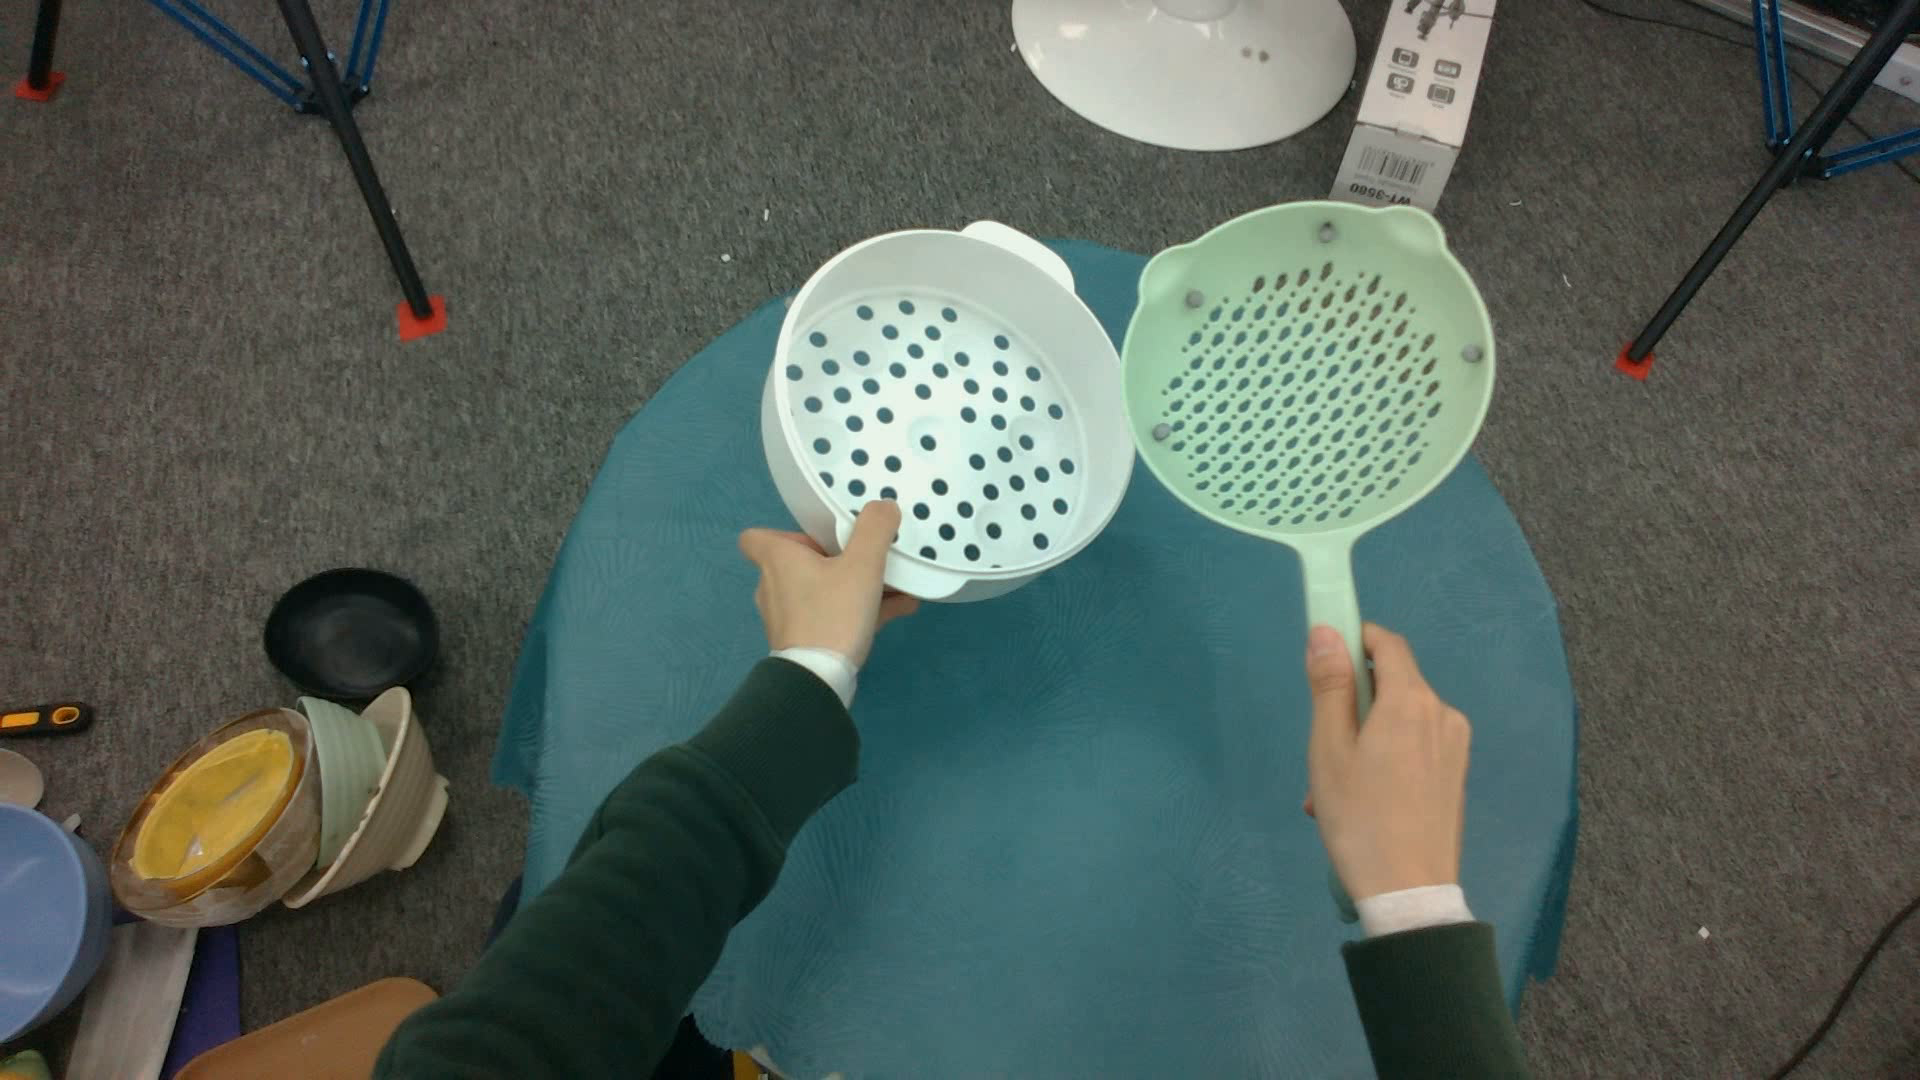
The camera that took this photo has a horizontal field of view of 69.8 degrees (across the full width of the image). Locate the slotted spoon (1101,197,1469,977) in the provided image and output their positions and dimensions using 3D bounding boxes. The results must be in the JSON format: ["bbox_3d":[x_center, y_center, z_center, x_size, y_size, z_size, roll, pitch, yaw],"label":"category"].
[{"bbox_3d":[0.159,0.008,0.628,0.169,0.075,0.360,-8,62,13],"label":"slotted spoon"}]

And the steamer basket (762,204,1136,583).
[{"bbox_3d":[-0.007,-0.075,0.748,0.202,0.069,0.231,23,62,-10],"label":"steamer basket"}]
